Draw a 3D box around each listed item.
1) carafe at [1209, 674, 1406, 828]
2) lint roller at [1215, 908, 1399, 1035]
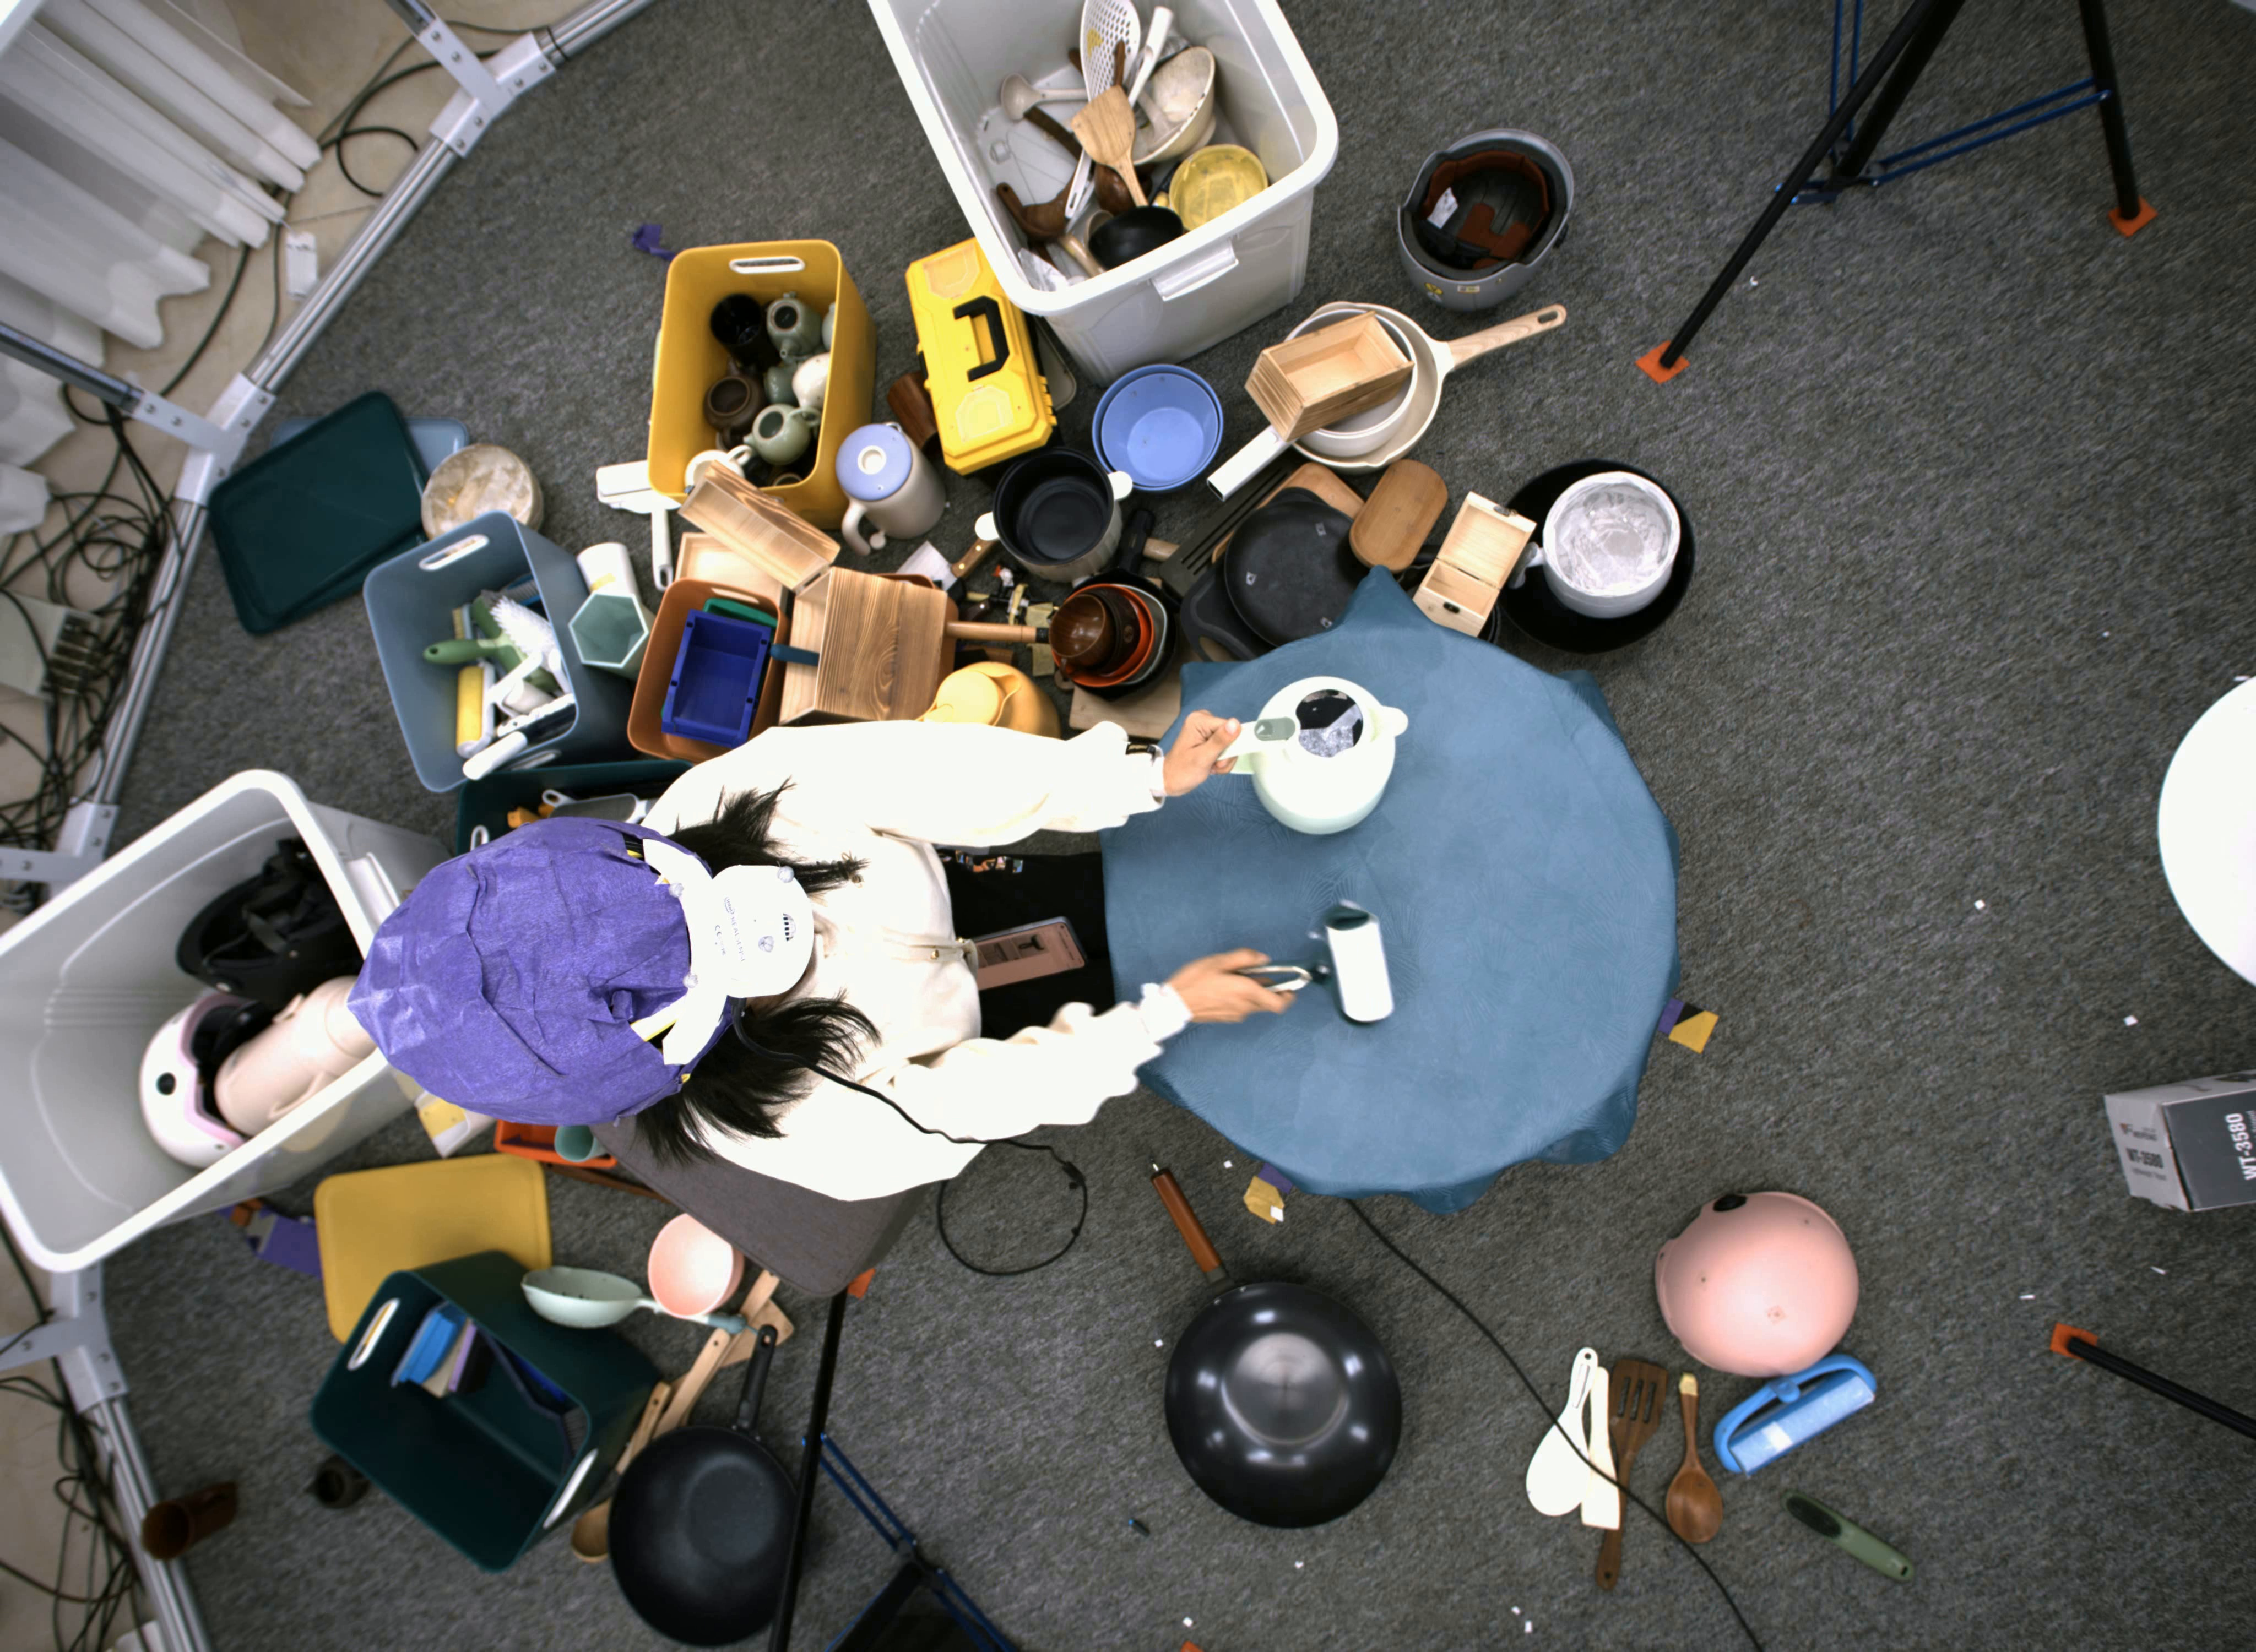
[{"bbox_3d":[0.179,-0.079,1.356,0.188,0.257,0.143,-6,85,10],"label":"carafe"},{"bbox_3d":[0.177,0.157,1.400,0.181,0.047,0.136,-11,108,5],"label":"lint roller"}]
